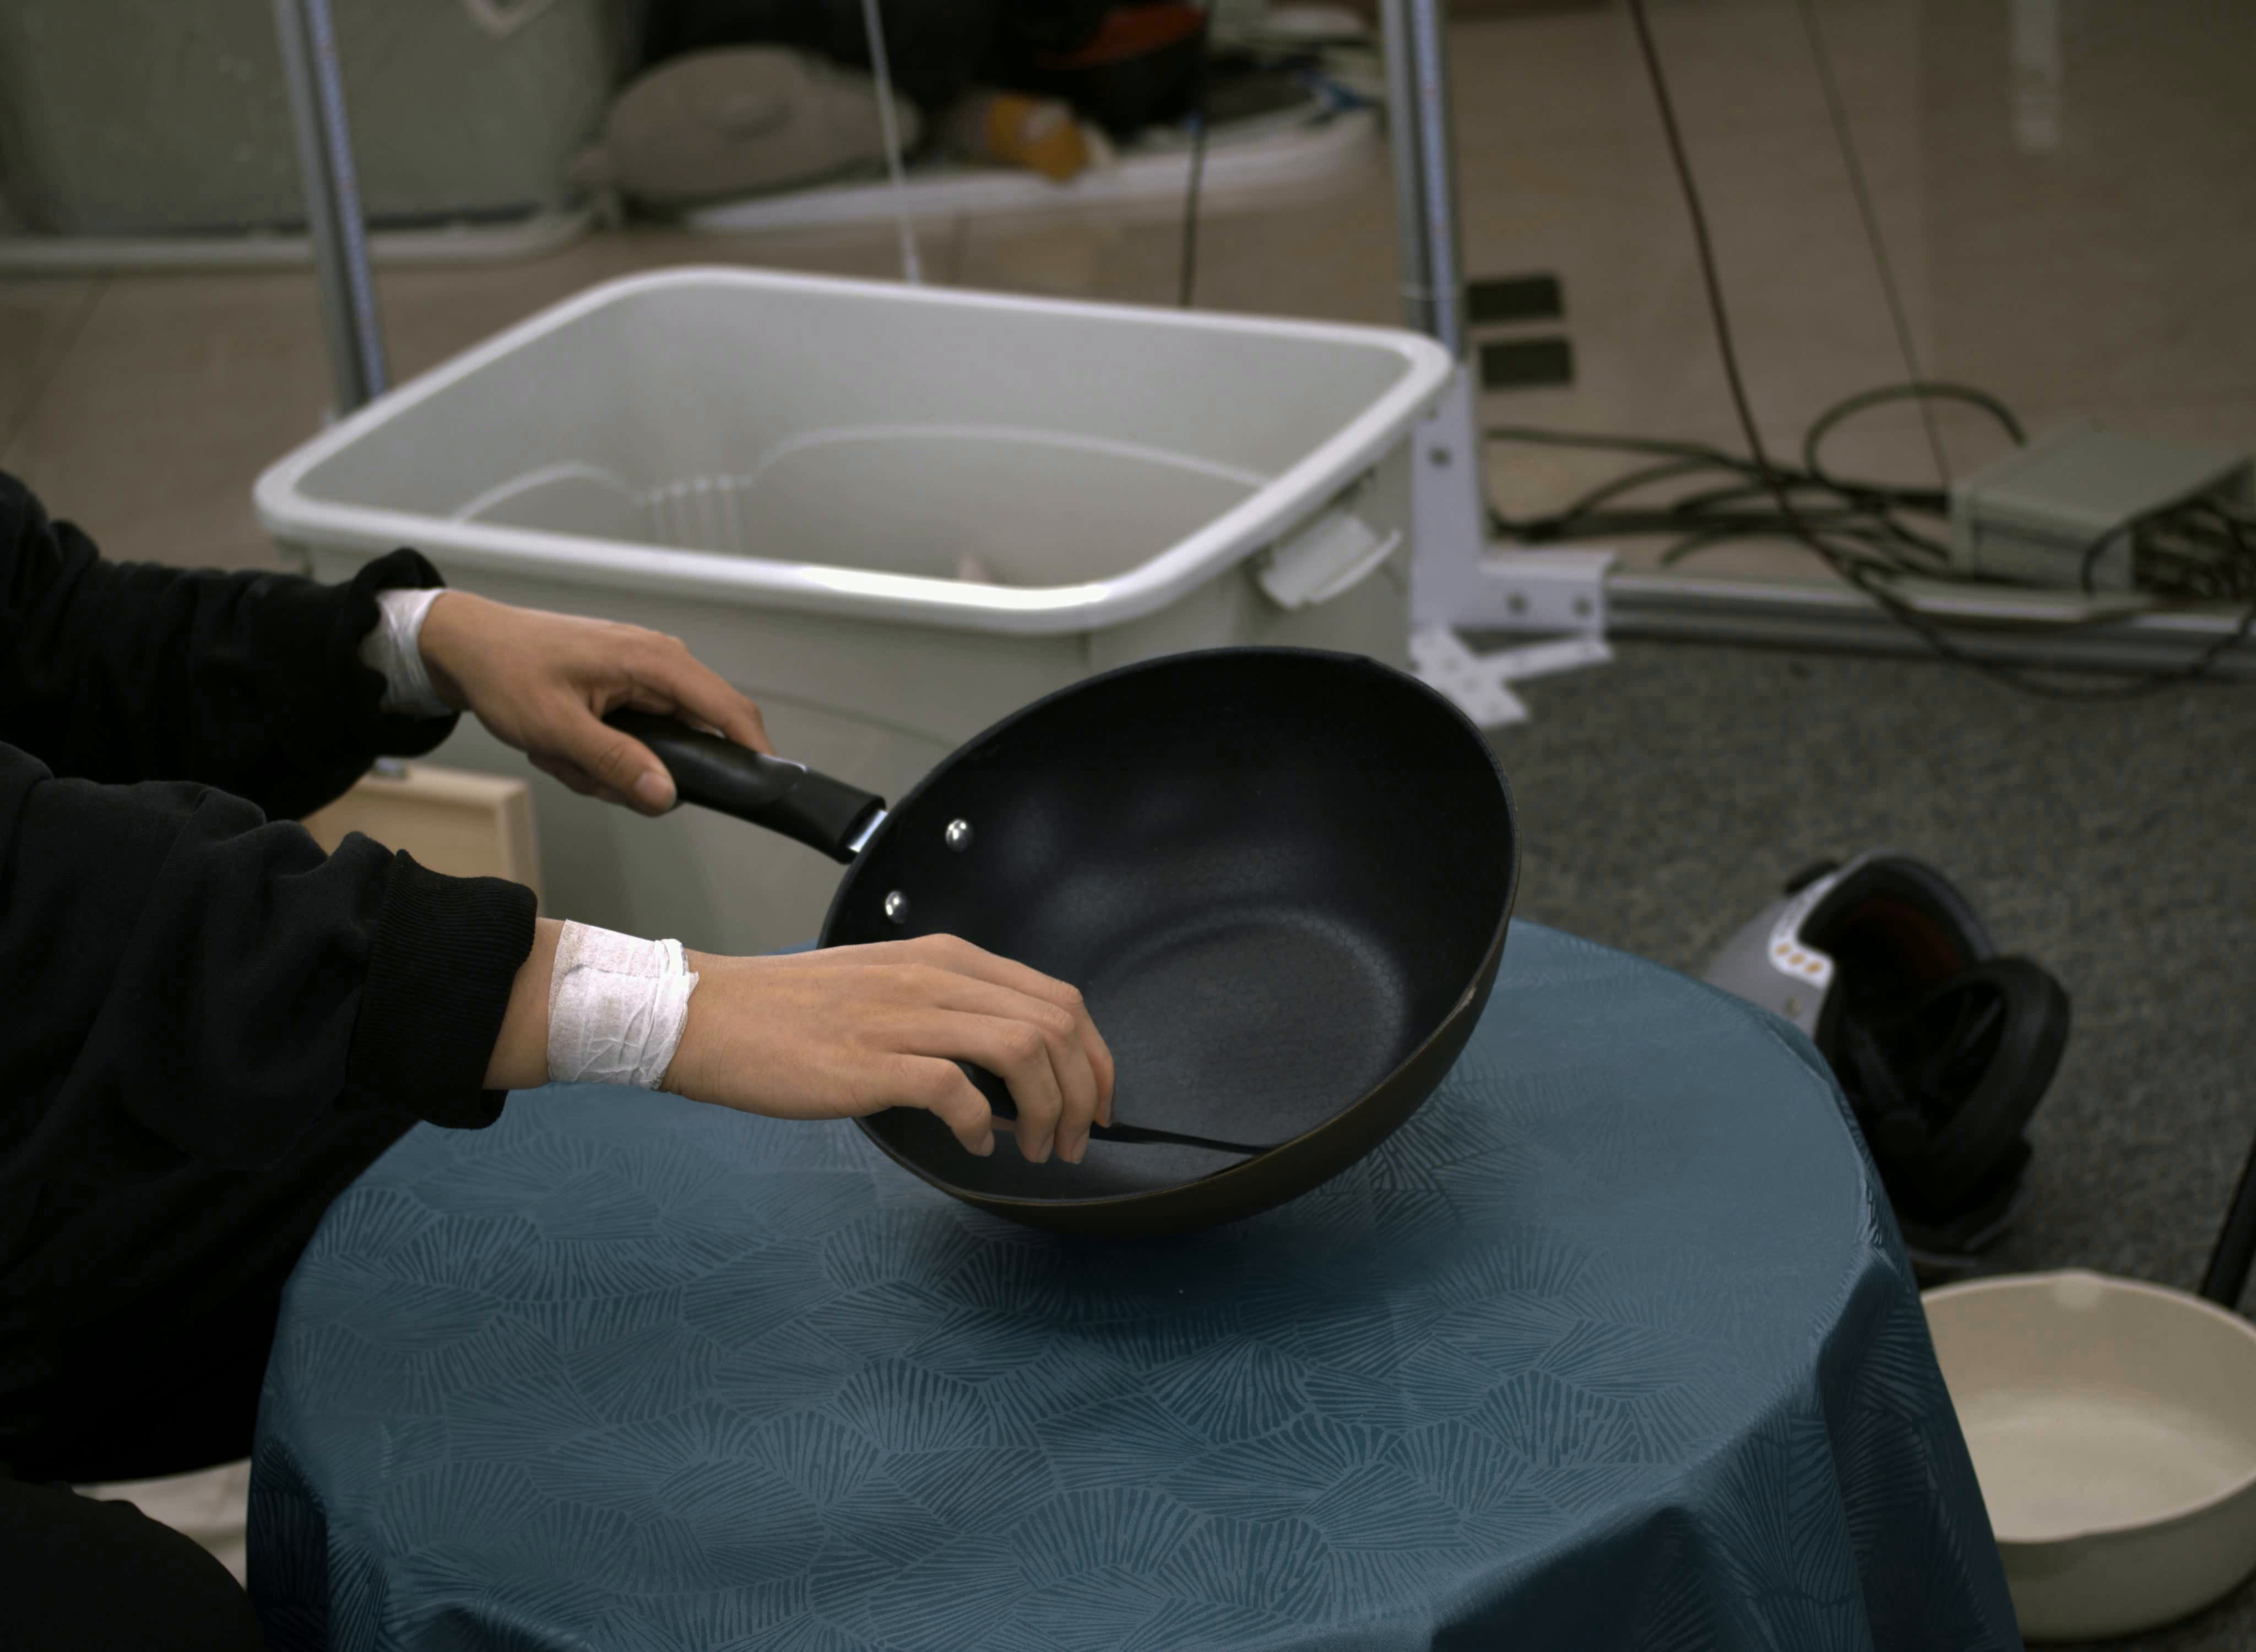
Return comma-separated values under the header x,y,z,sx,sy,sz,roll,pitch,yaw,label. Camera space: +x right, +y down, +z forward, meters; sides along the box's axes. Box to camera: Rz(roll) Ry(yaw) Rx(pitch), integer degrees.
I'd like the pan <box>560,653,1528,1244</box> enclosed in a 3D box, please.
x,y,z,sx,sy,sz,roll,pitch,yaw,label
-0.045,0.038,2.208,0.460,0.088,0.285,18,57,36,pan

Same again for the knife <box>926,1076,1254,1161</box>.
x,y,z,sx,sy,sz,roll,pitch,yaw,label
0.001,0.108,1.994,0.026,0.017,0.226,-11,-15,34,knife
